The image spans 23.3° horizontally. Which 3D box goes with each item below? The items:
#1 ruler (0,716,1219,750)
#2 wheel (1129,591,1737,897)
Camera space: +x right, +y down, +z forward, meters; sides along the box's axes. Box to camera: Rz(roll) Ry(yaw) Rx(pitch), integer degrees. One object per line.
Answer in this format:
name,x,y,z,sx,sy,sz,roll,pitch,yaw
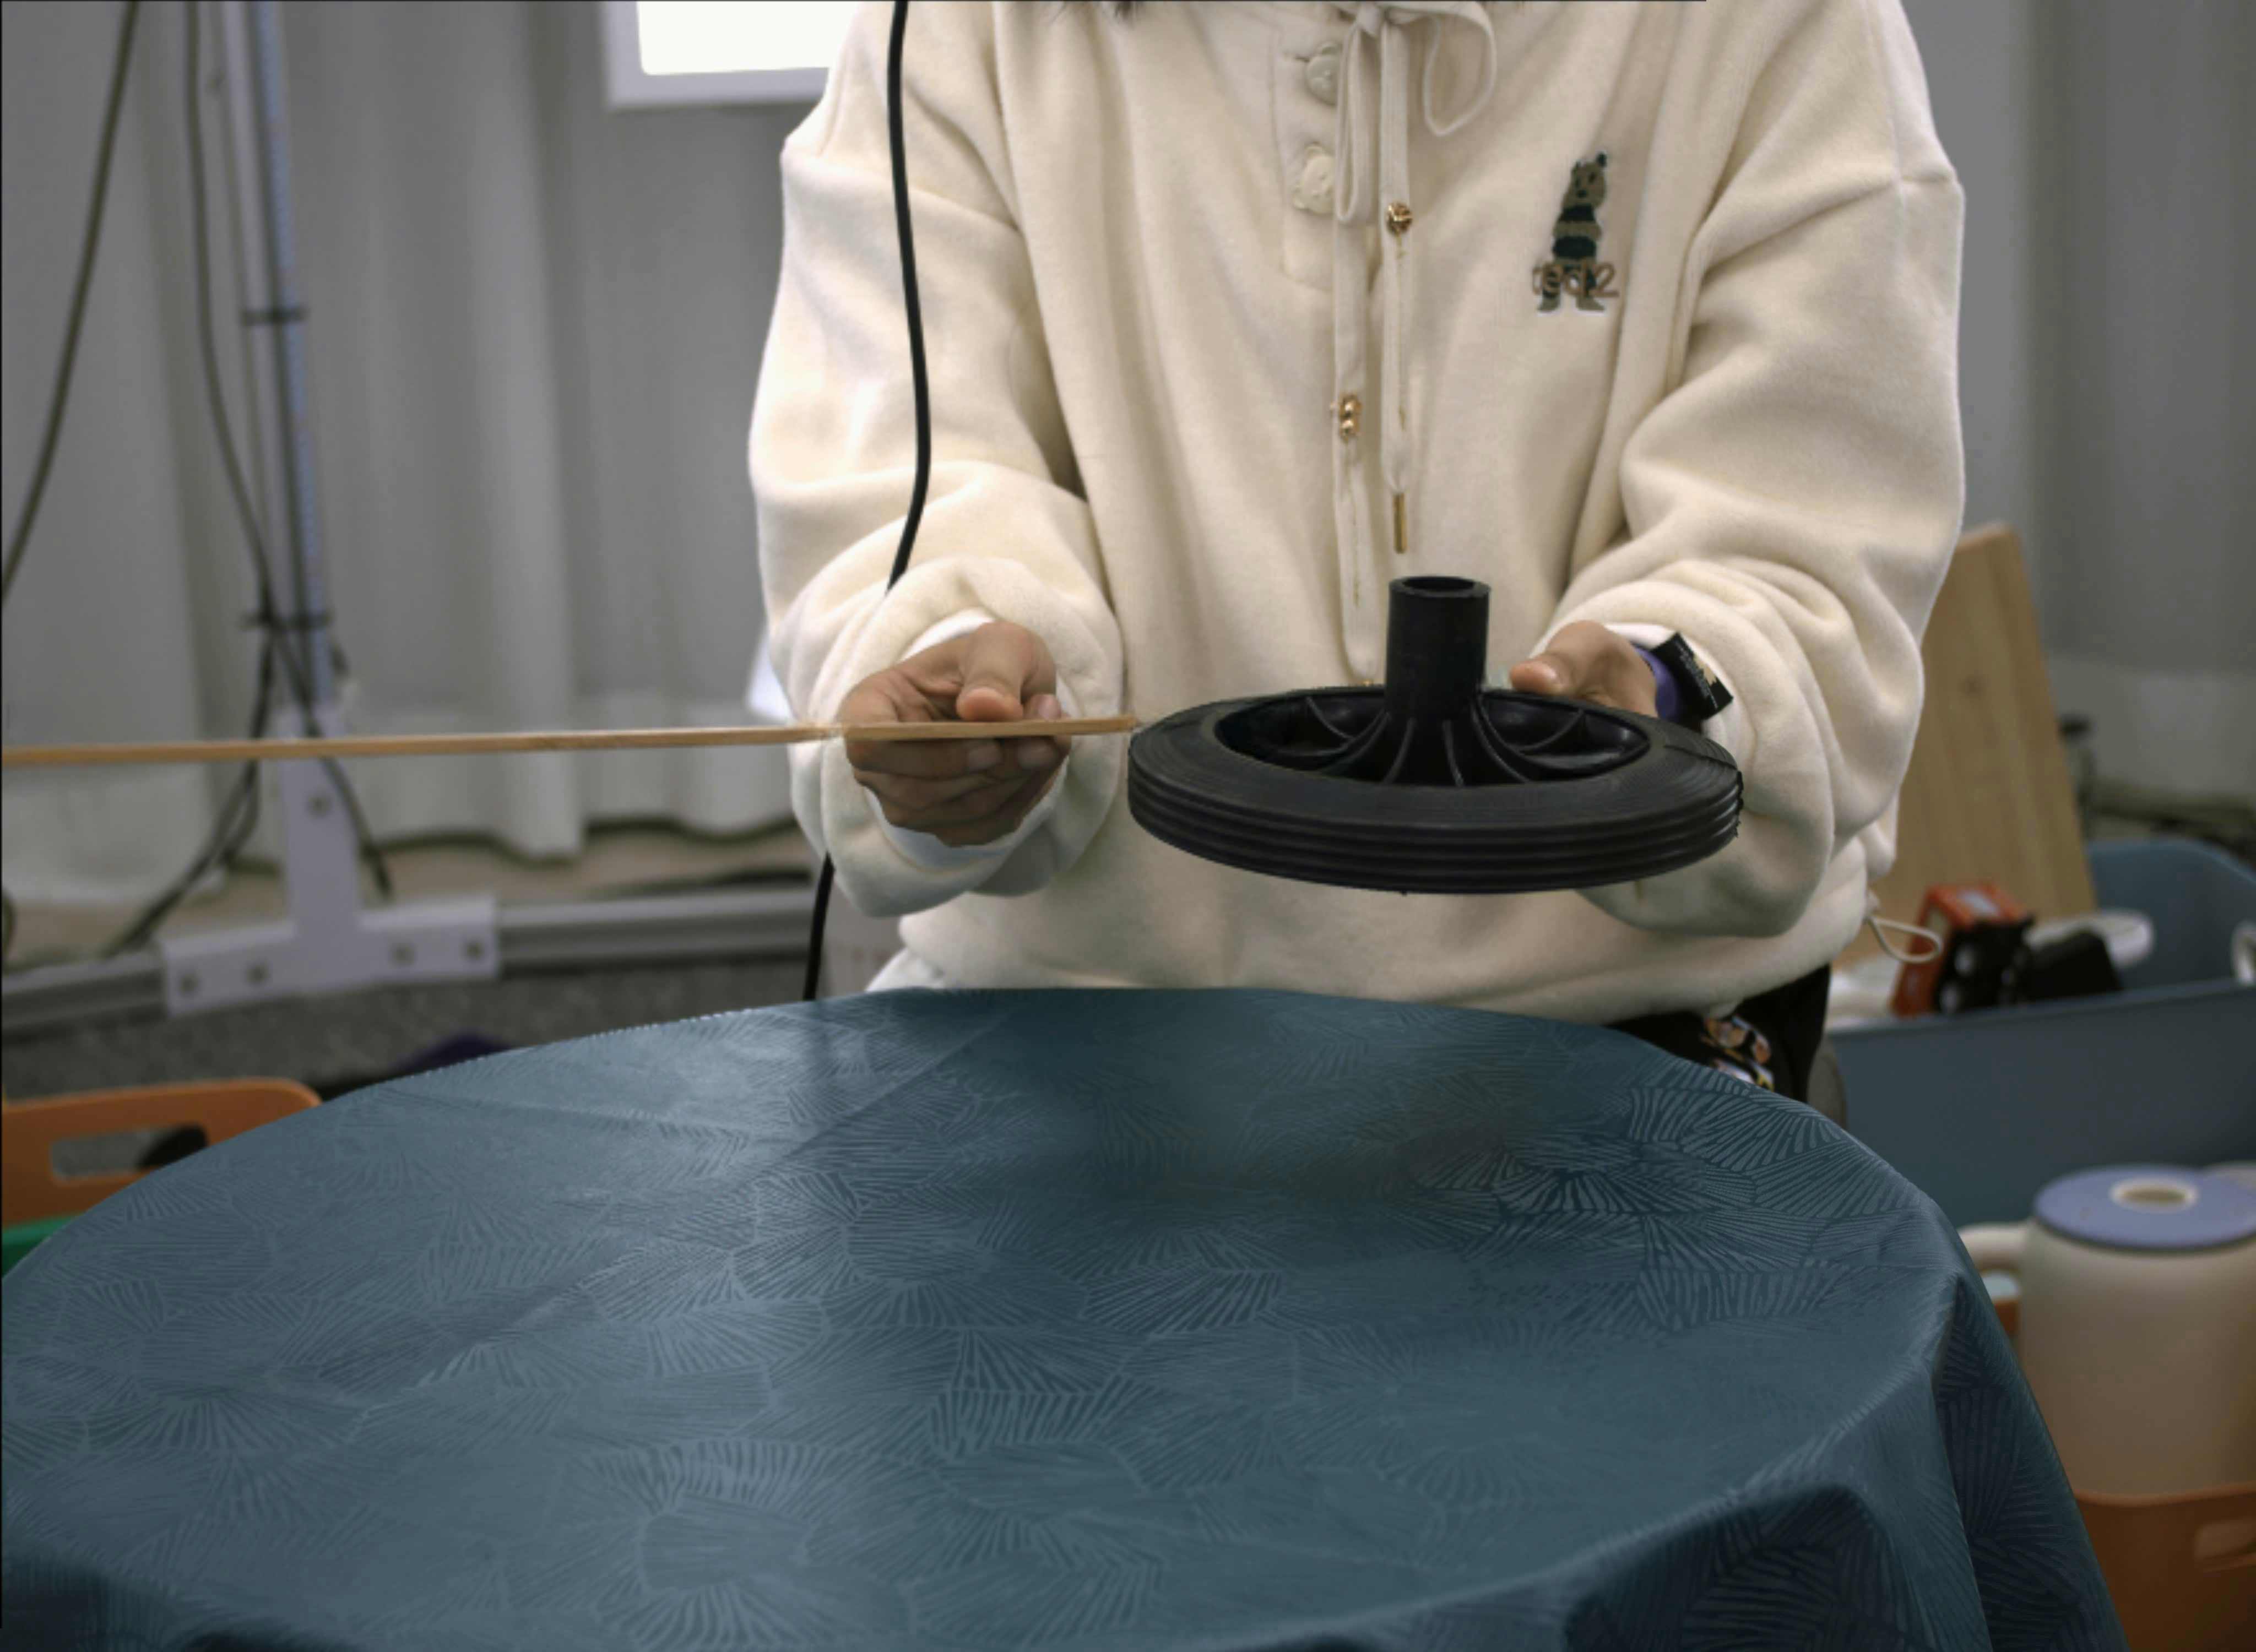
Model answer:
ruler,-0.184,-0.027,1.613,0.497,0.006,0.027,-2,0,-34
wheel,0.095,-0.030,1.675,0.188,0.079,0.189,14,18,43
